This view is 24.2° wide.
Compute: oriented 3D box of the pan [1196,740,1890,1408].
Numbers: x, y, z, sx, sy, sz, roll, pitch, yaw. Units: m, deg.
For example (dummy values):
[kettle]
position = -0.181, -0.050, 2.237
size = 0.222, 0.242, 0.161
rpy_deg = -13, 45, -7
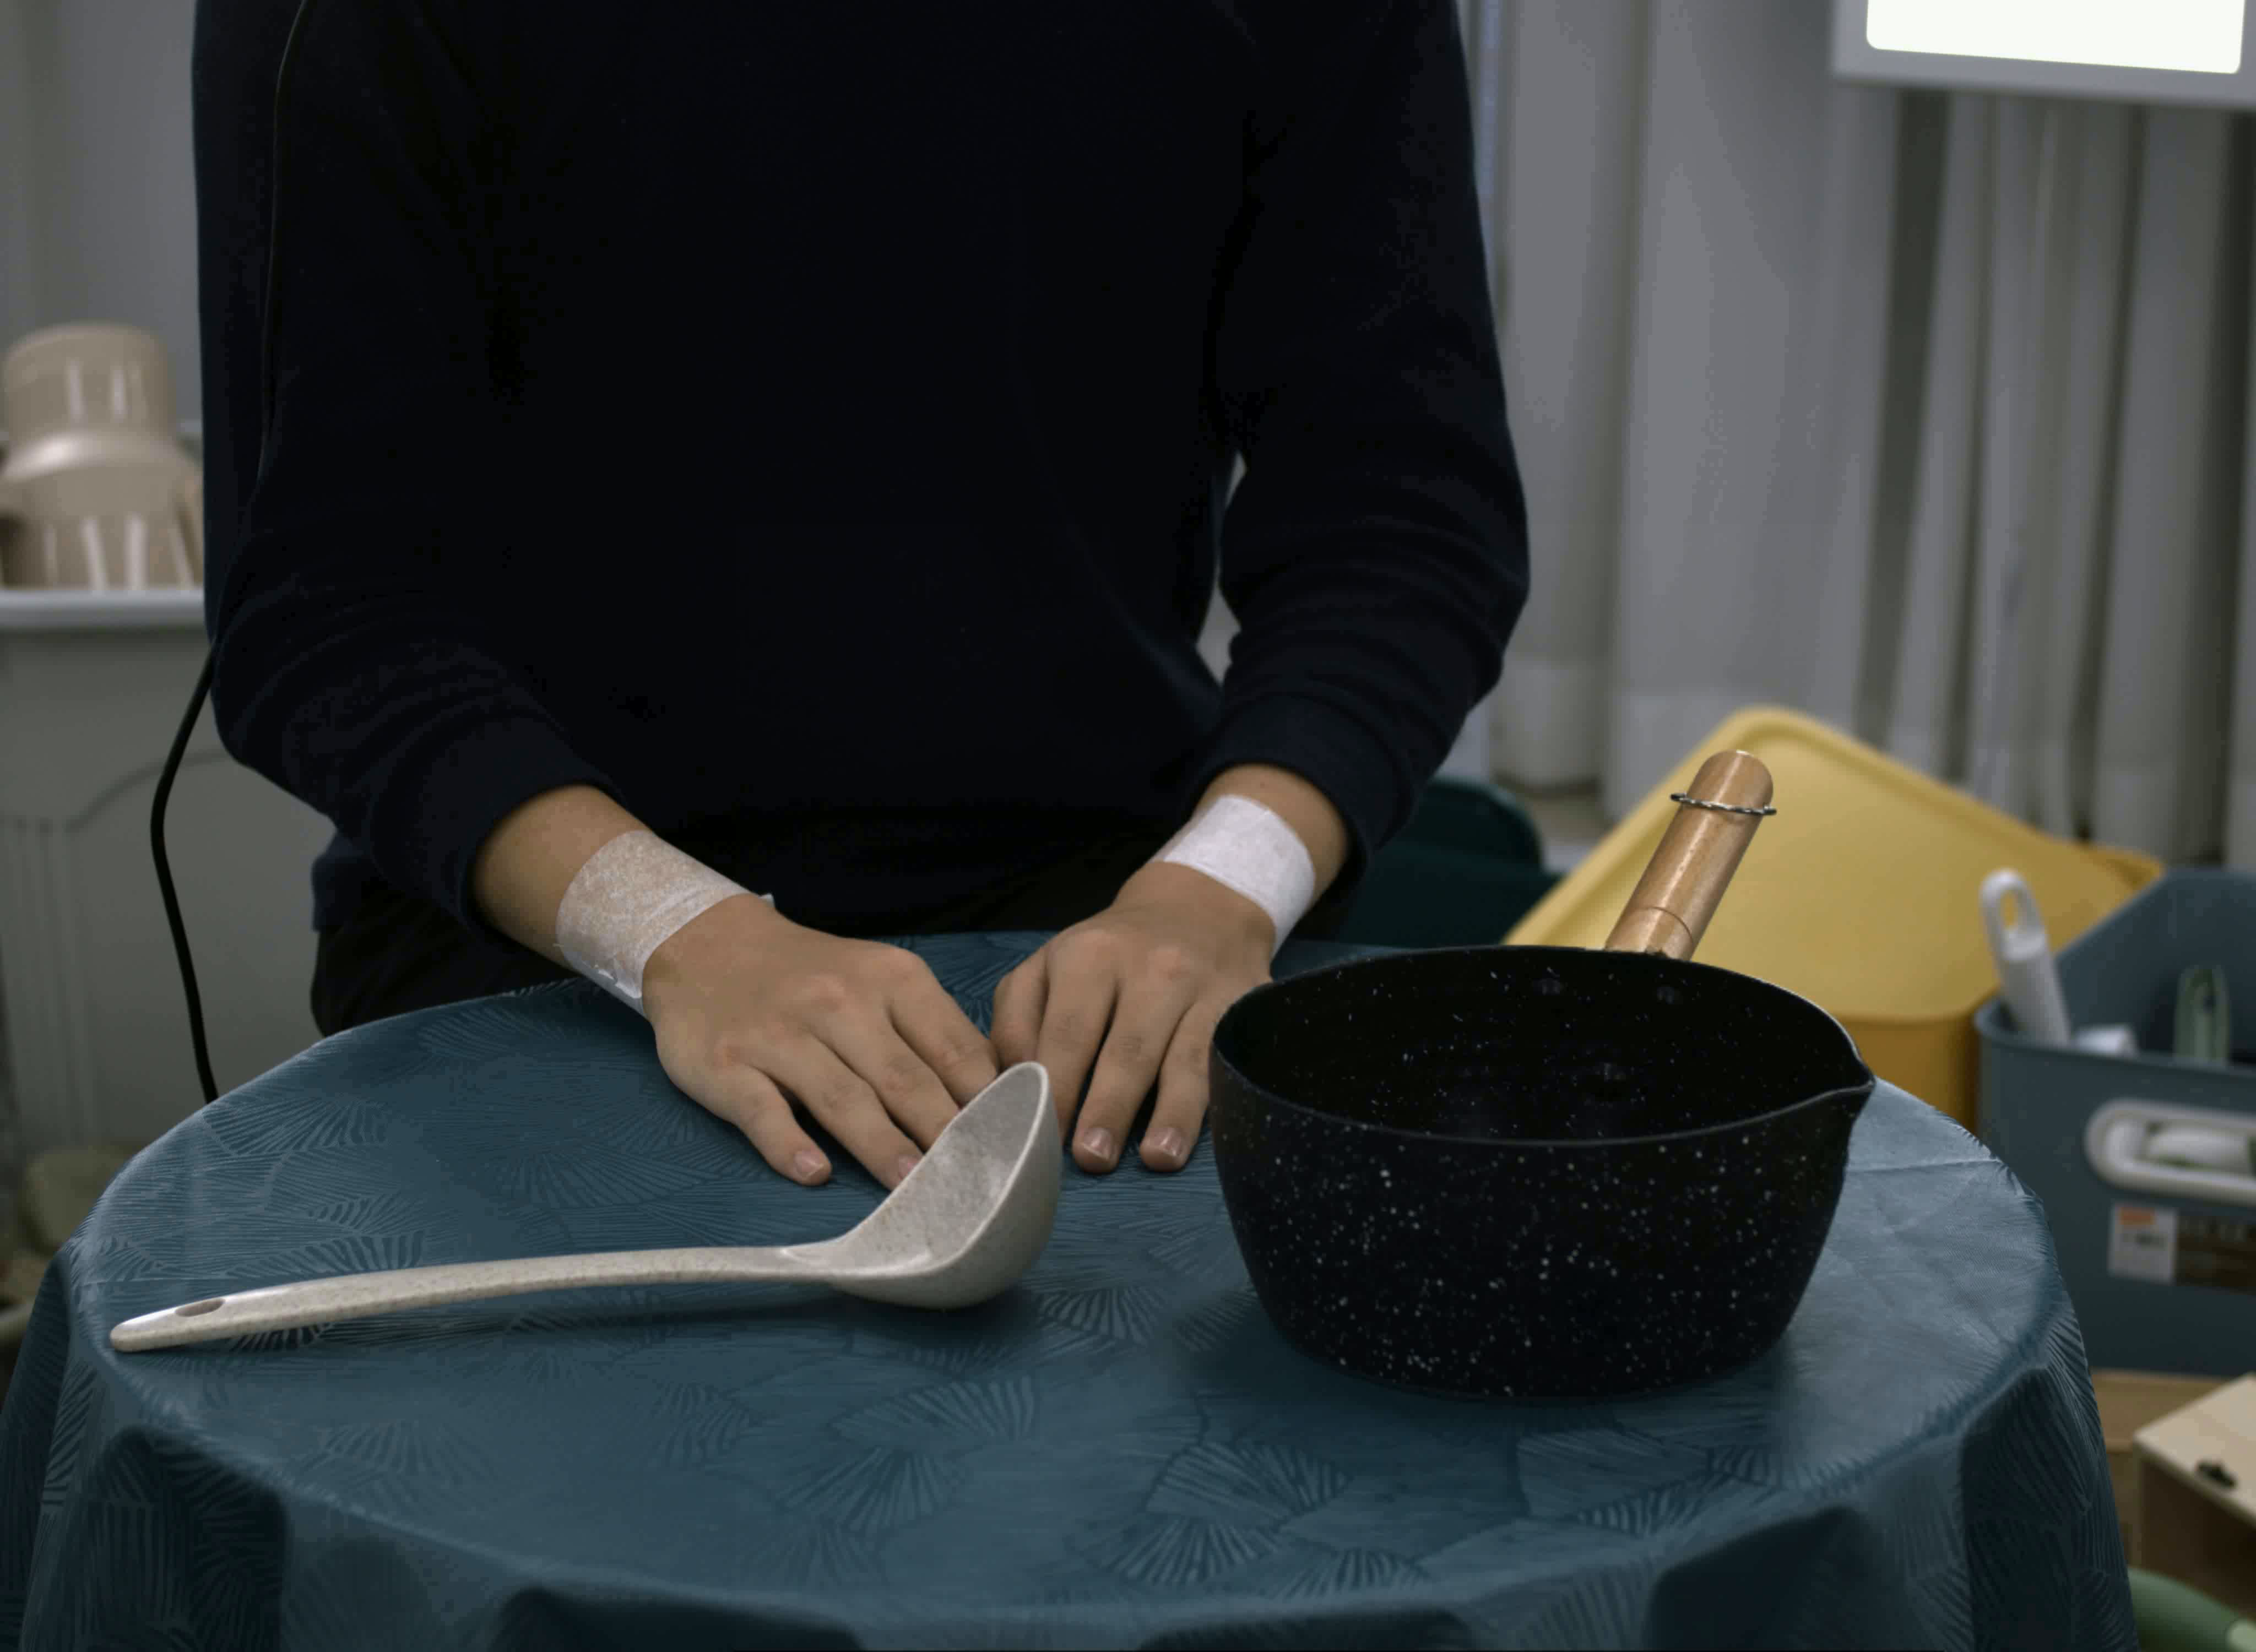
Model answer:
[pan]
position = 0.140, 0.068, 1.581
size = 0.205, 0.109, 0.343
rpy_deg = 4, 18, 18

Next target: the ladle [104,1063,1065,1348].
[ladle]
position = -0.154, 0.108, 1.502
size = 0.275, 0.070, 0.088
rpy_deg = -2, 20, -10
